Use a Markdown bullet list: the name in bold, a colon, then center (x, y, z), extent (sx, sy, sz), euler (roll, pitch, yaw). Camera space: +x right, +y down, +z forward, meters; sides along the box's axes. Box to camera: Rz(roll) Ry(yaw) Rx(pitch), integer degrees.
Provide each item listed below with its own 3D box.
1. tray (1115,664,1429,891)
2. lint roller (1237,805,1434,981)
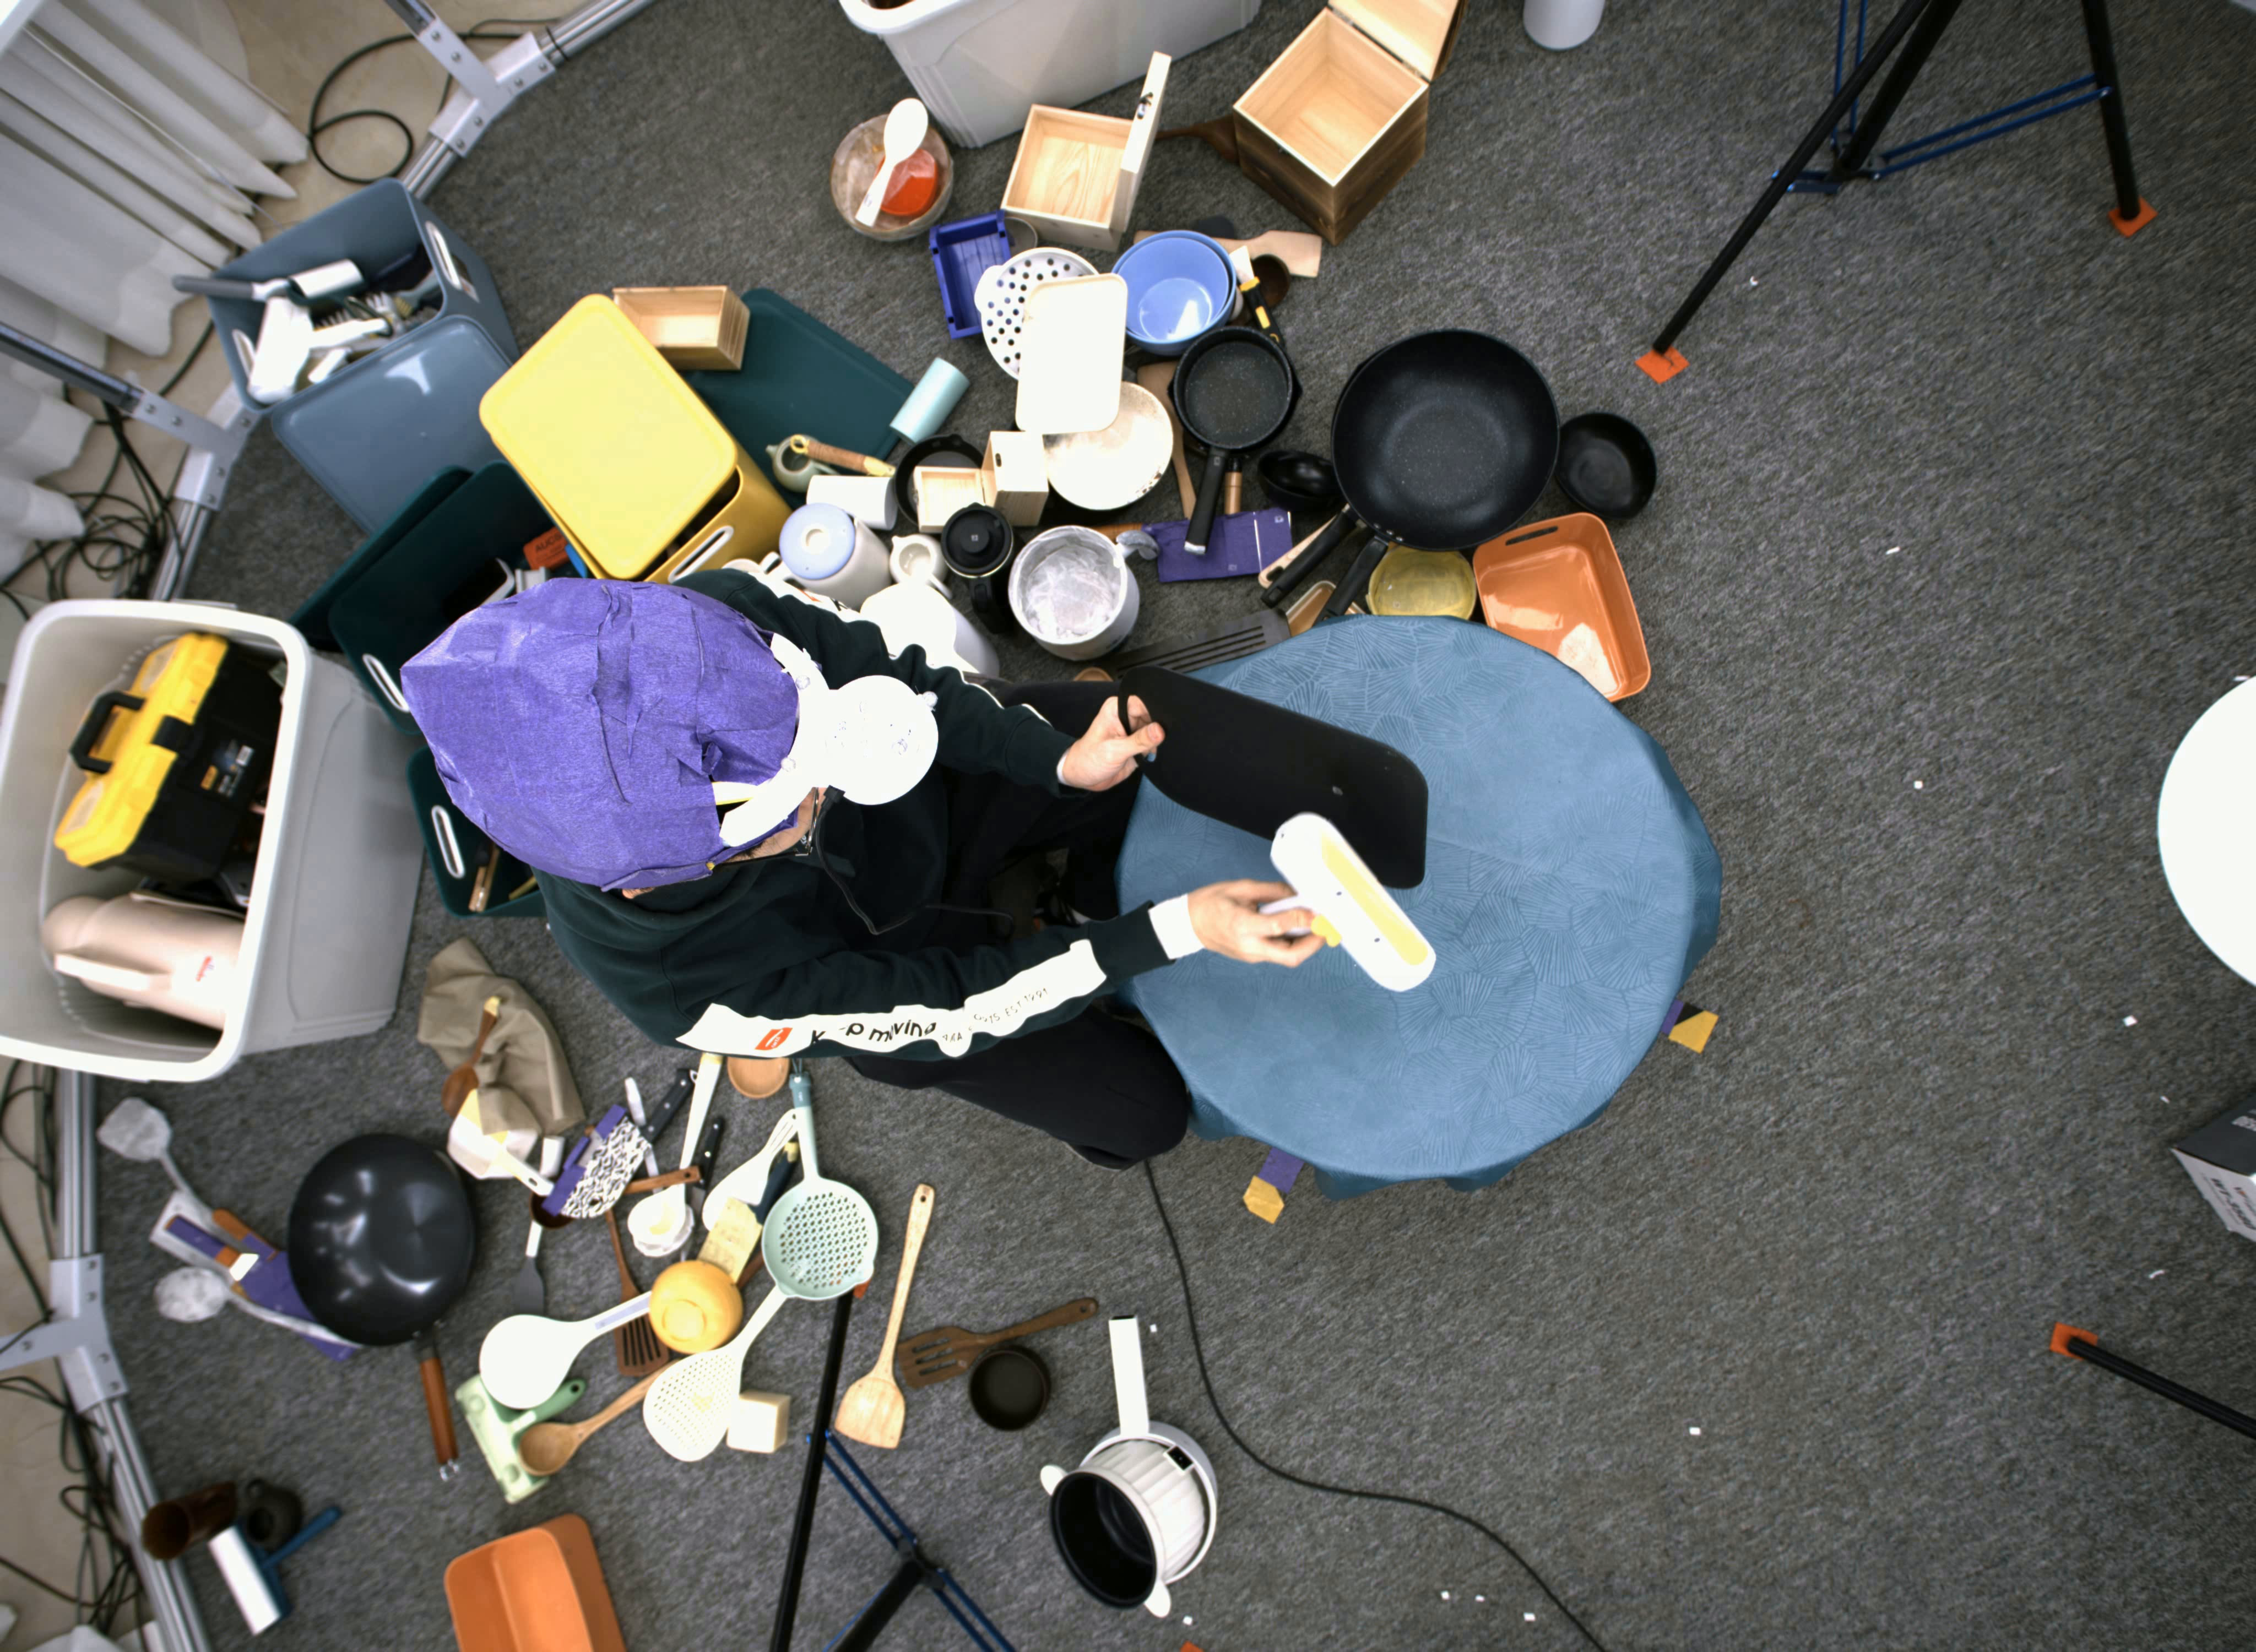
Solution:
- **tray**: center (0.128, -0.048, 1.285), extent (0.325, 0.216, 0.009), euler (22, 61, 24)
- **lint roller**: center (0.169, 0.073, 1.283), extent (0.194, 0.194, 0.073), euler (43, 68, -14)
